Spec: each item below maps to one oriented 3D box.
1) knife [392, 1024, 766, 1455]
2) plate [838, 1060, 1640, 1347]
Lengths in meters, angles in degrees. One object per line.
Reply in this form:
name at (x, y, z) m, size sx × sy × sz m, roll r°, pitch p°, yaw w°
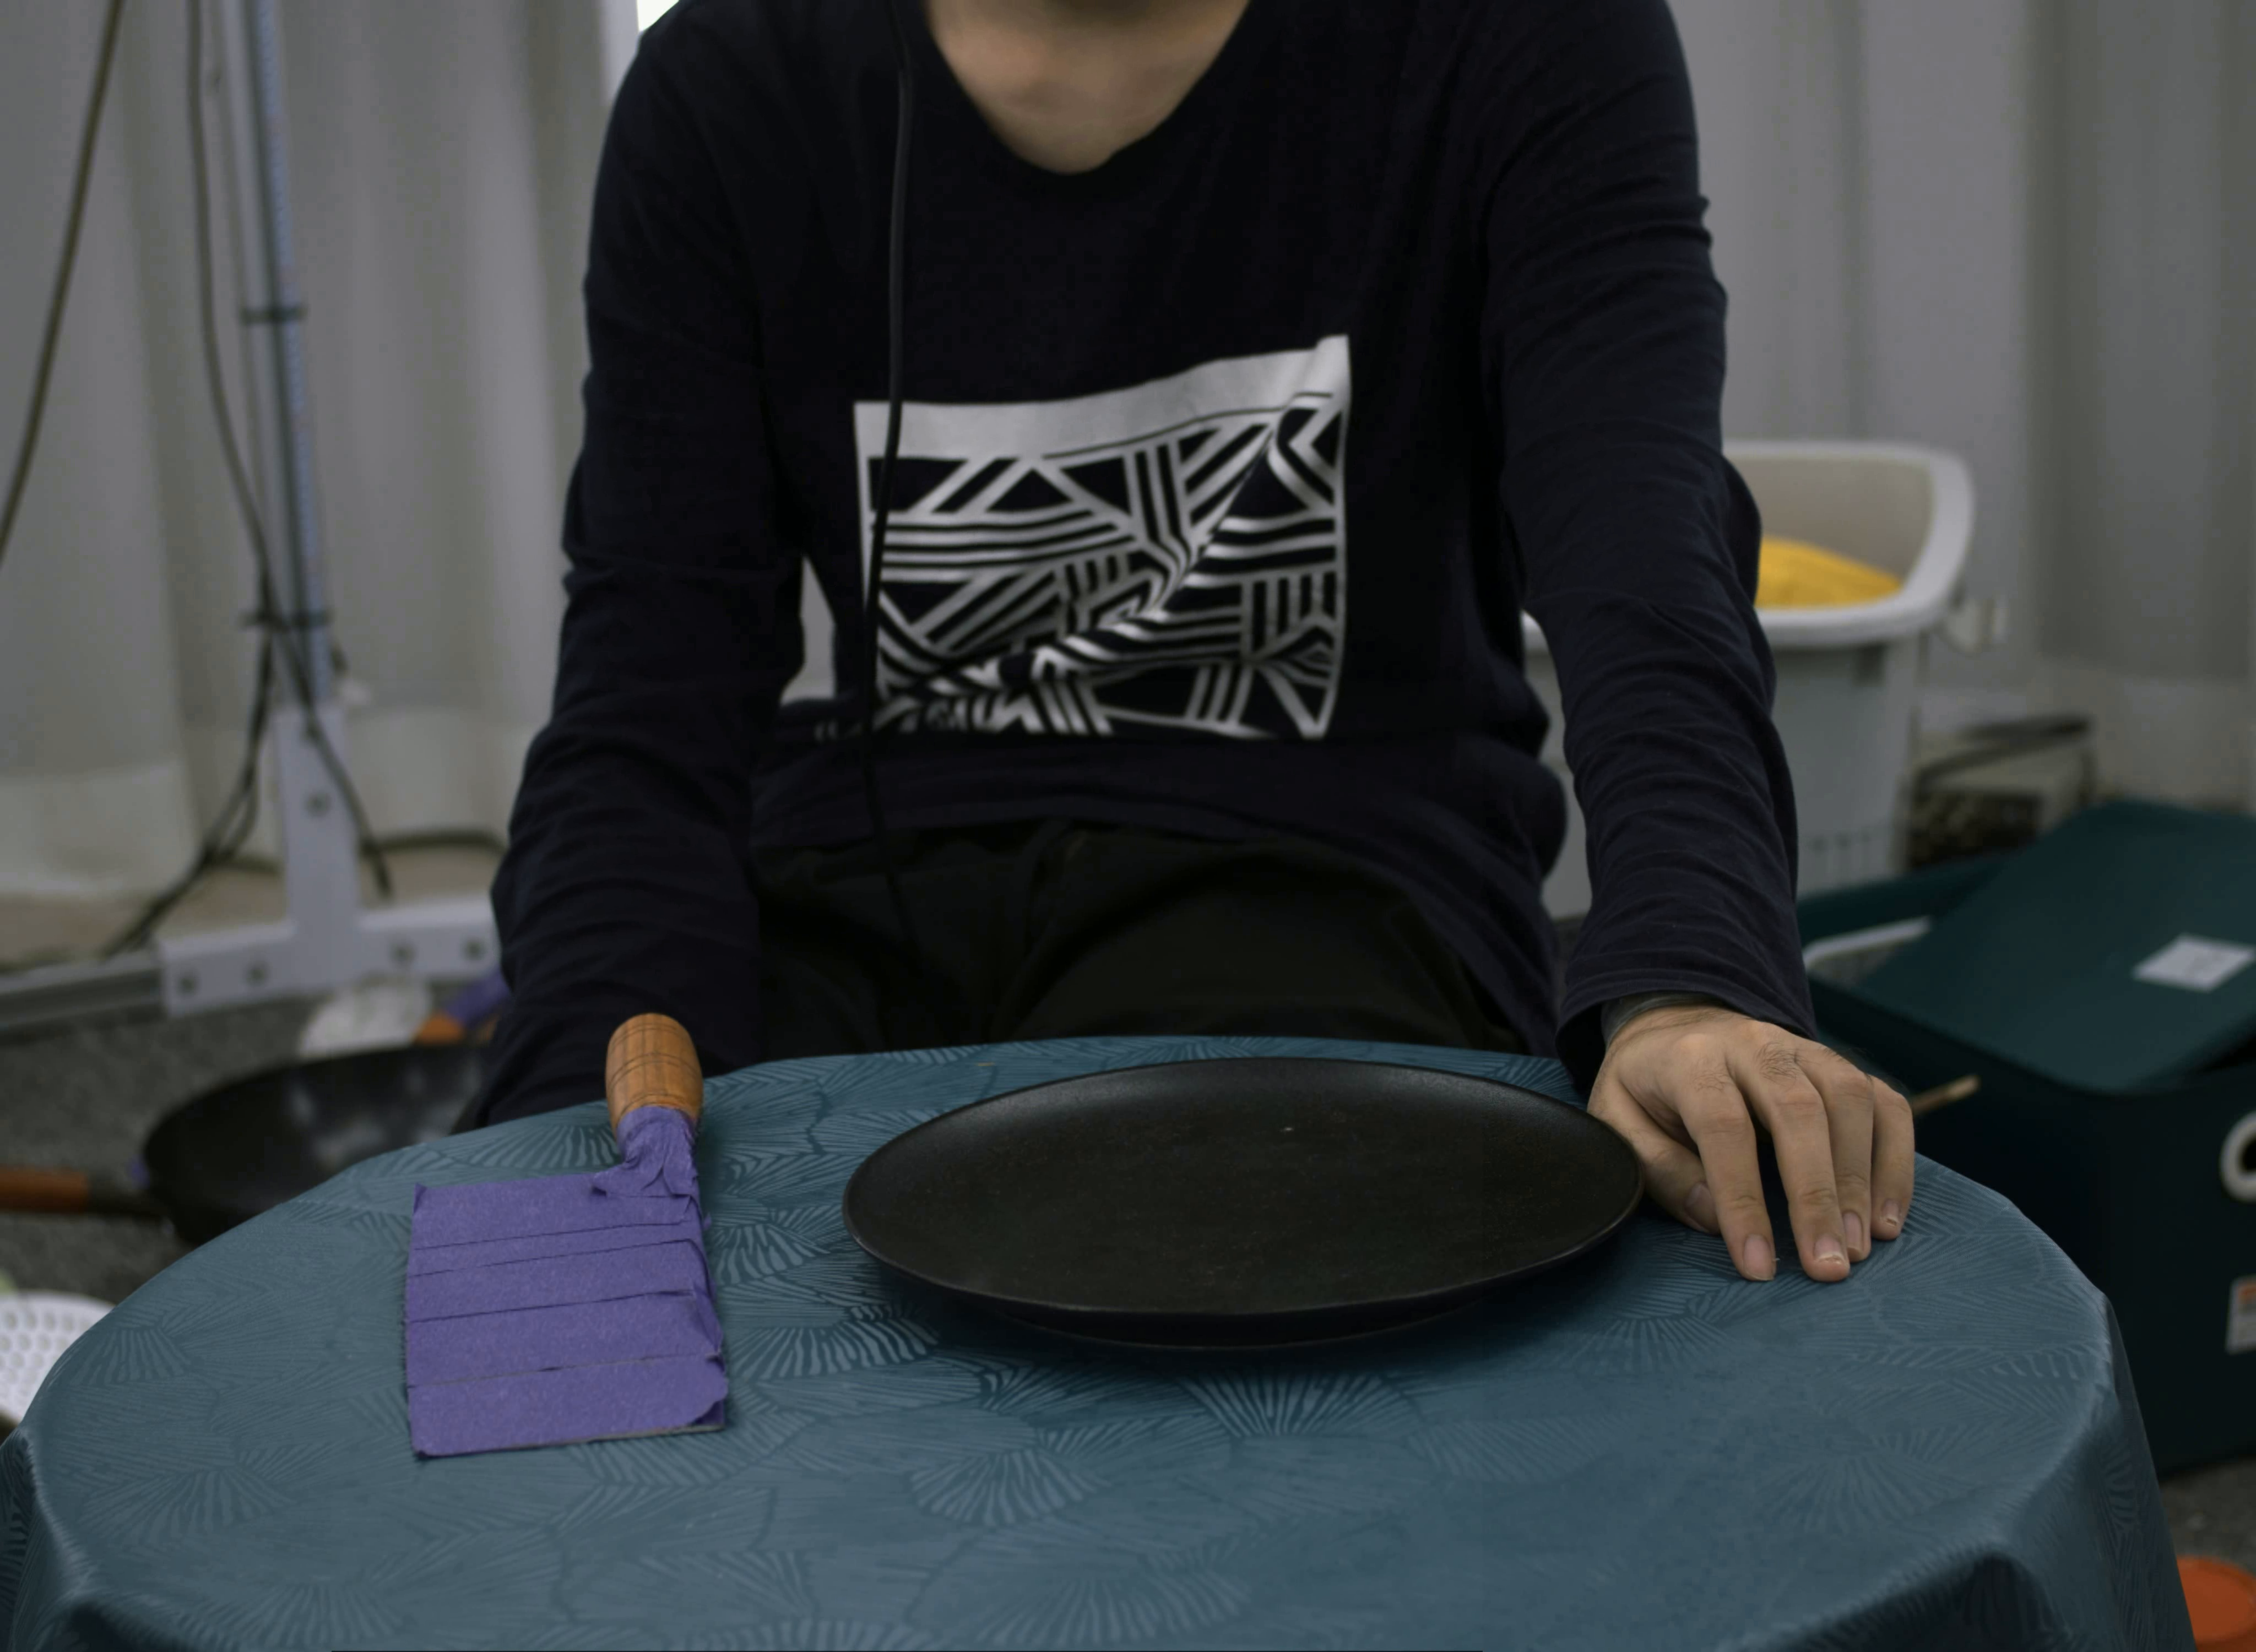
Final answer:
knife at (-0.173, 0.122, 1.670) m, size 0.103 × 0.032 × 0.317 m, roll -4°, pitch 15°, yaw -7°
plate at (0.034, 0.117, 1.660) m, size 0.243 × 0.023 × 0.246 m, roll -3°, pitch 15°, yaw 0°
